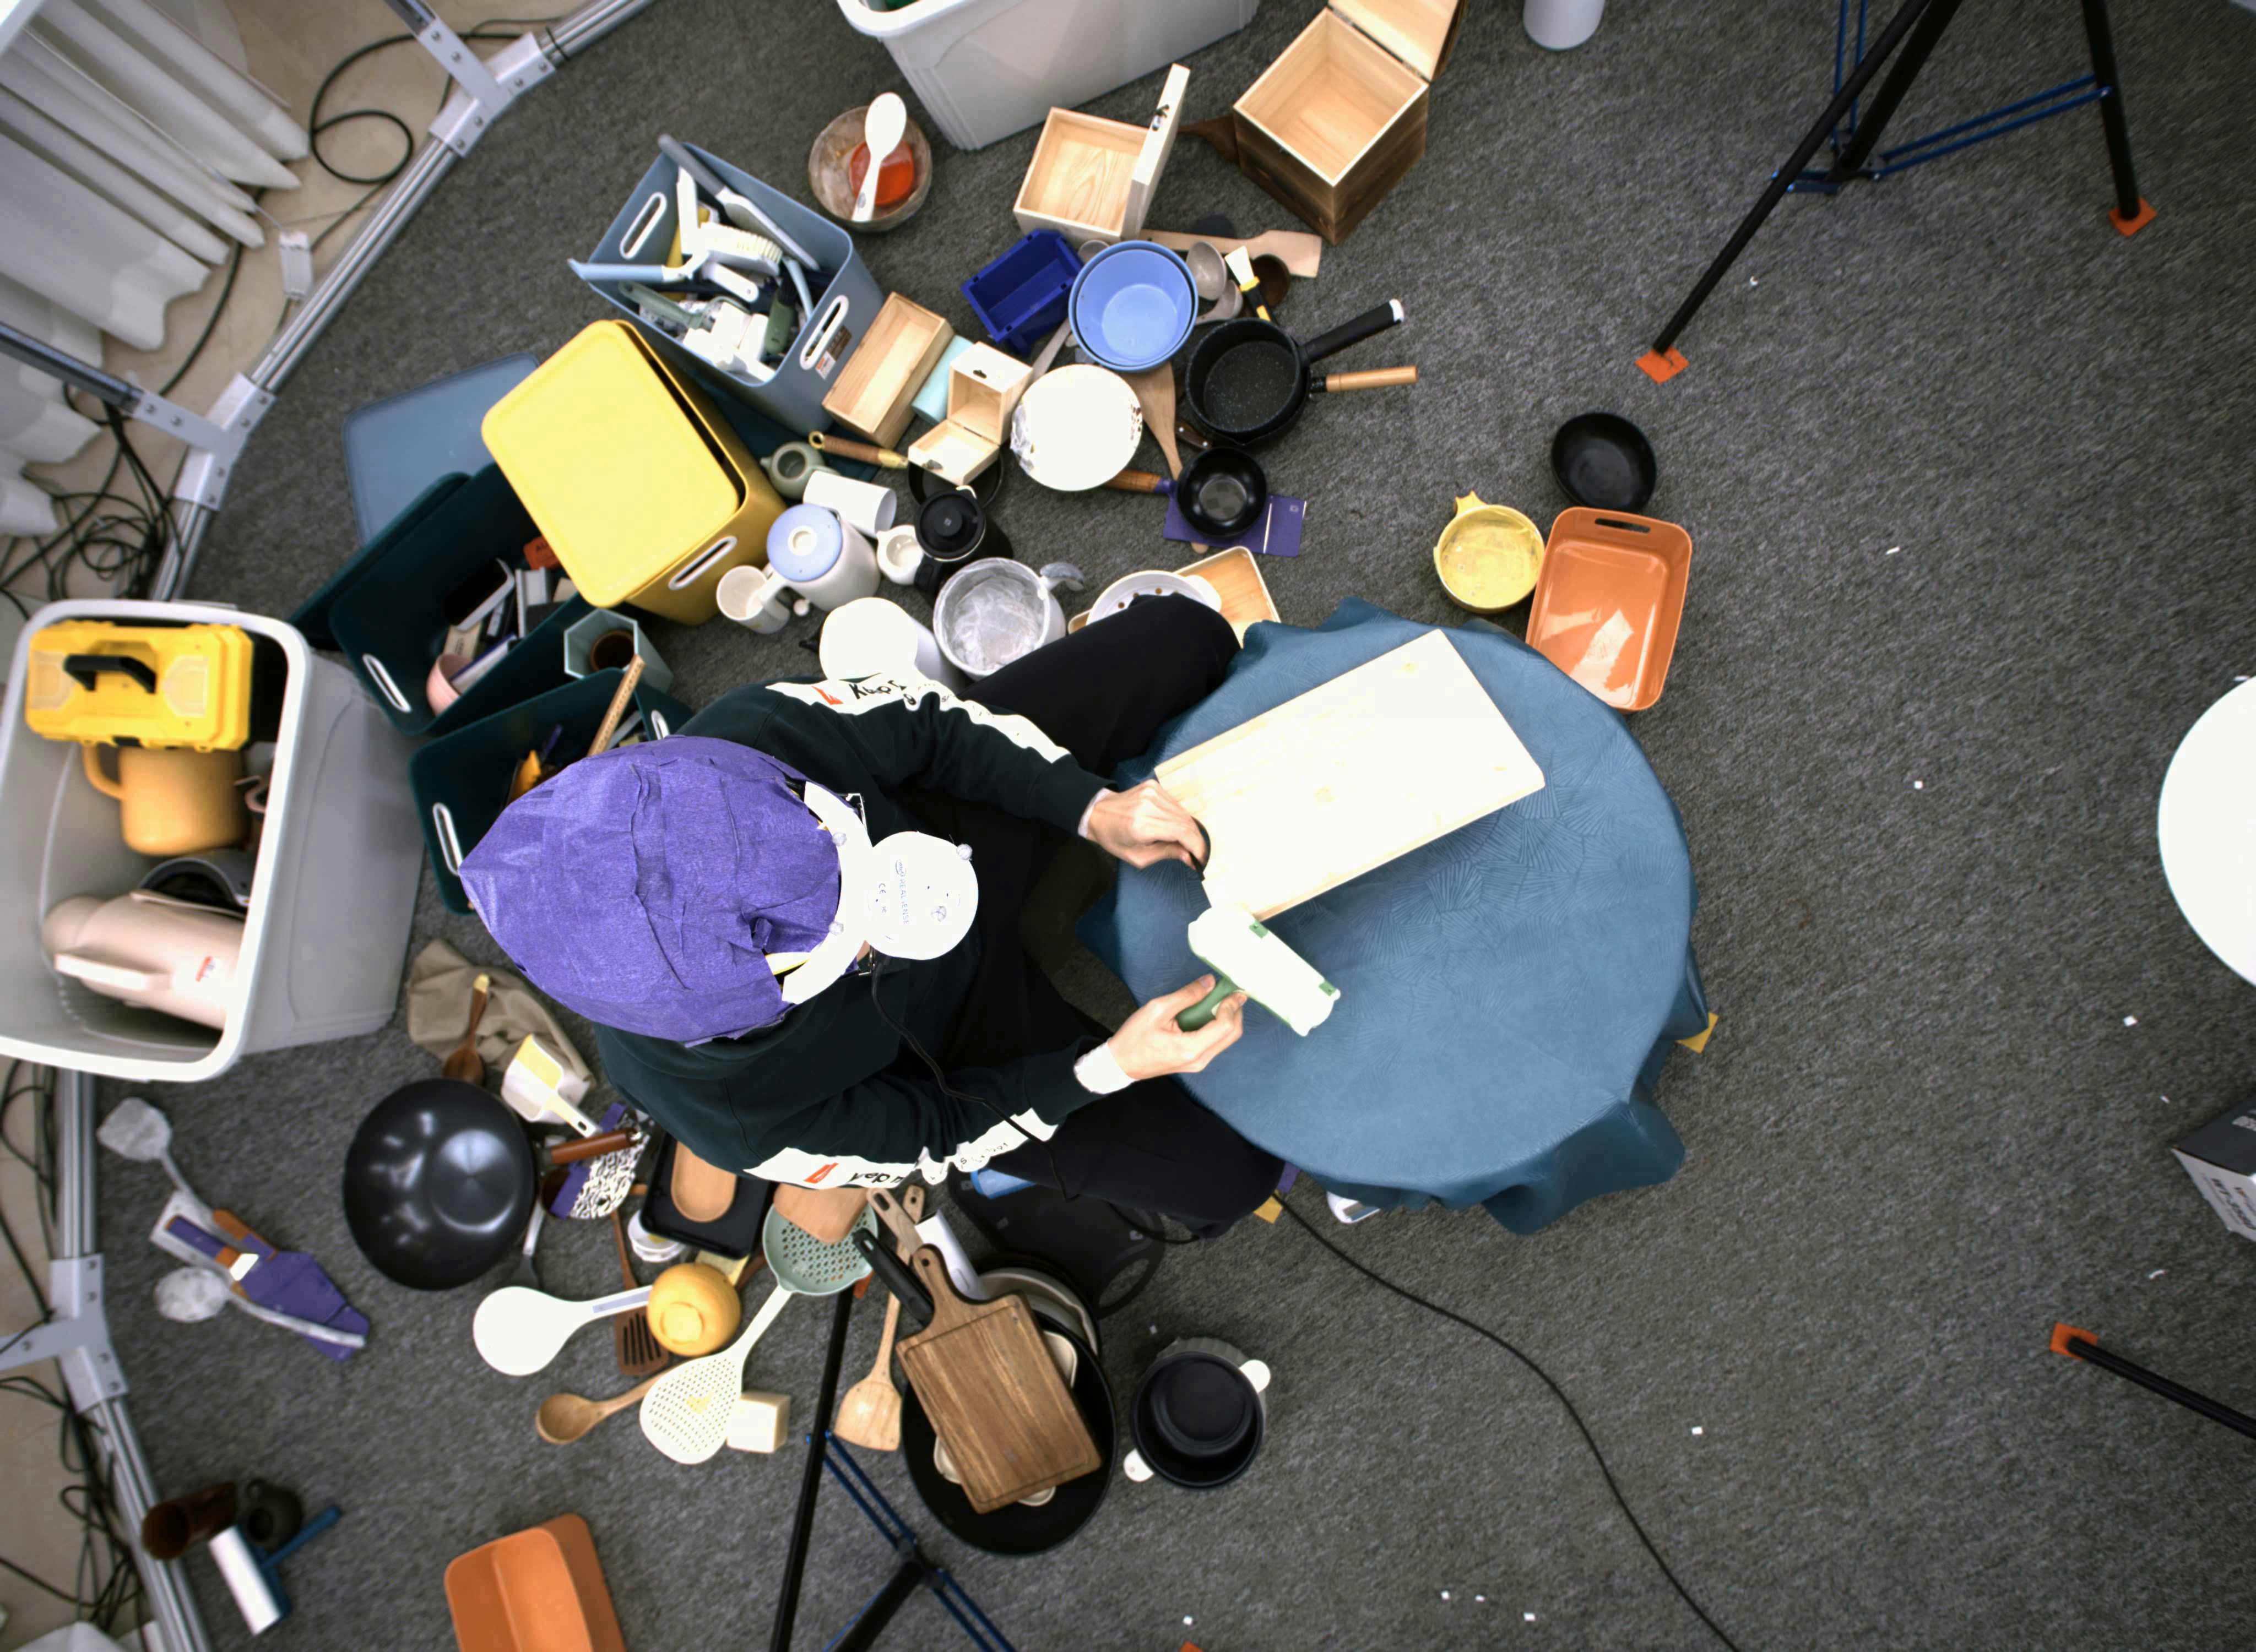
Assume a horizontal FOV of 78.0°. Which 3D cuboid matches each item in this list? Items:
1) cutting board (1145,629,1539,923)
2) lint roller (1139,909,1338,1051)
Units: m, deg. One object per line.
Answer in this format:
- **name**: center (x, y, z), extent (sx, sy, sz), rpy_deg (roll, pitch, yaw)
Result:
- **cutting board**: center (0.208, -0.050, 1.397), extent (0.350, 0.024, 0.245), rpy_deg (-27, 48, 6)
- **lint roller**: center (0.093, 0.181, 1.360), extent (0.185, 0.201, 0.080), rpy_deg (-40, 44, 11)
